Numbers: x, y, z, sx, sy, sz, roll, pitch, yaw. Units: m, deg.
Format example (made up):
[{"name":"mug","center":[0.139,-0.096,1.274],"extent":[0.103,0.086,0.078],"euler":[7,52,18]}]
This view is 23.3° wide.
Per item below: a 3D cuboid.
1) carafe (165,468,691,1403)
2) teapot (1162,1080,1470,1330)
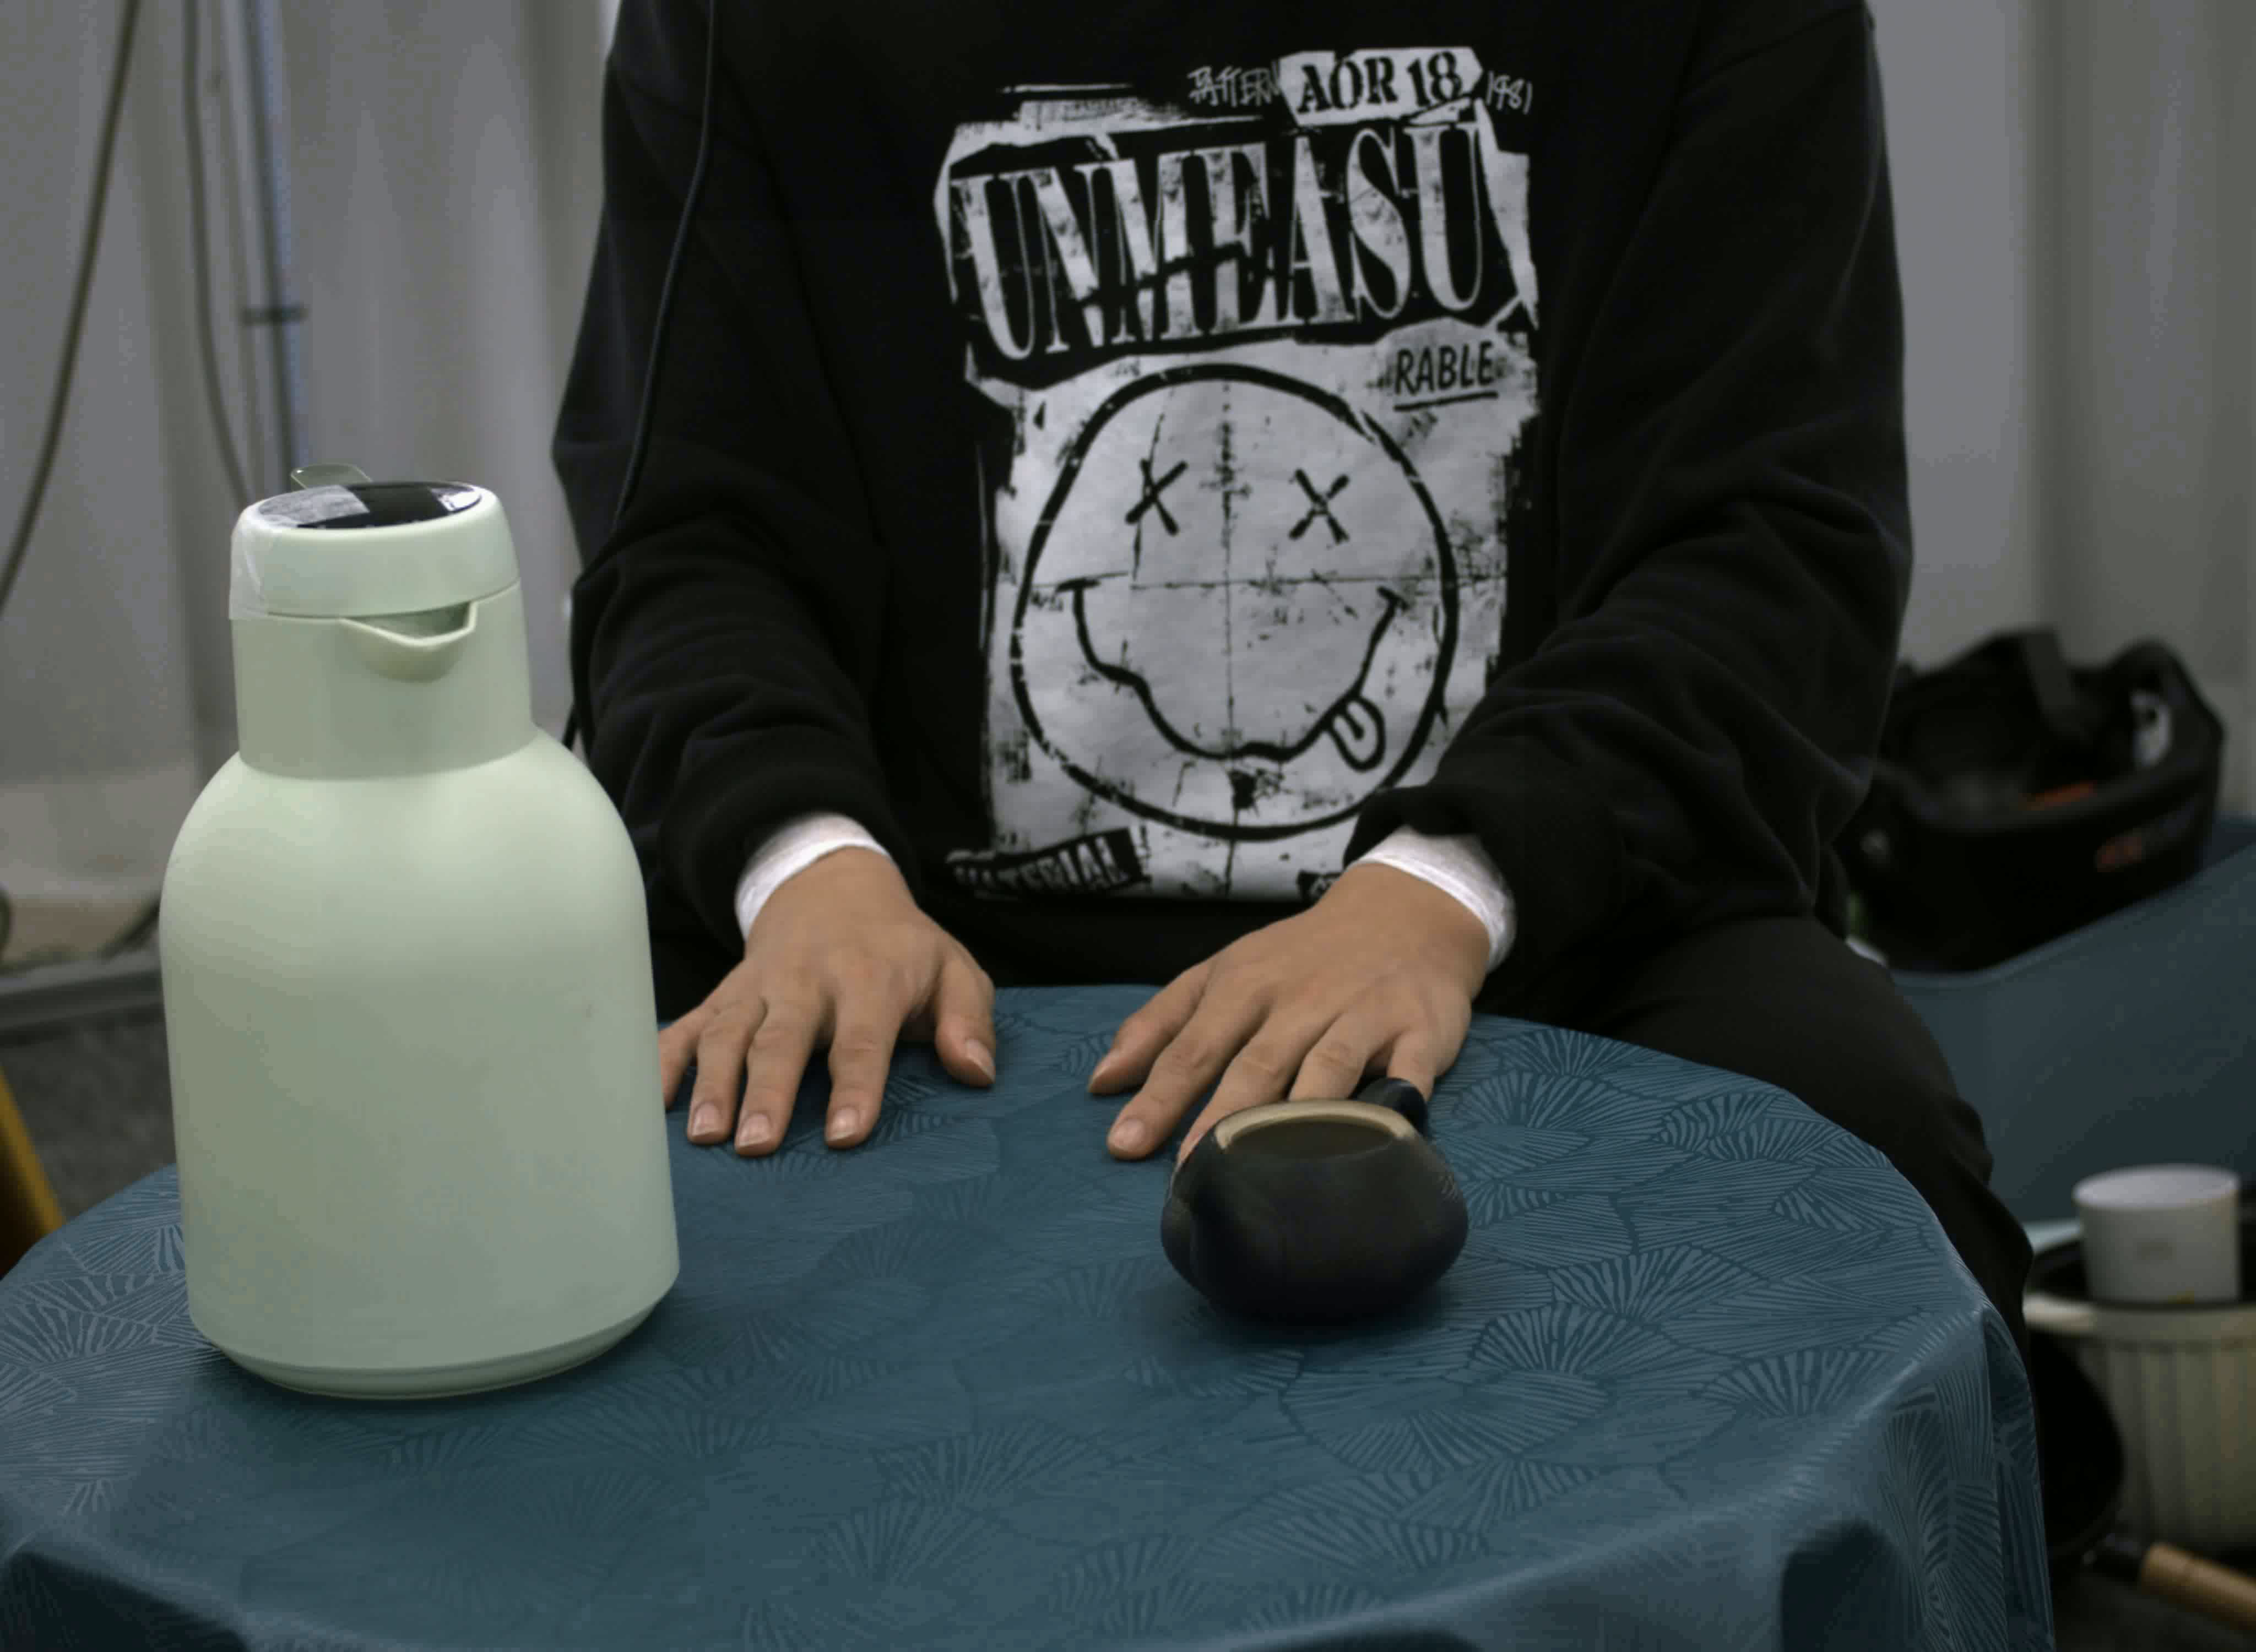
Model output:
[{"name":"carafe","center":[-0.215,0.026,1.607],"extent":[0.143,0.256,0.188],"euler":[-10,12,-21]},{"name":"teapot","center":[0.055,0.114,1.604],"extent":[0.091,0.053,0.133],"euler":[8,18,30]}]
